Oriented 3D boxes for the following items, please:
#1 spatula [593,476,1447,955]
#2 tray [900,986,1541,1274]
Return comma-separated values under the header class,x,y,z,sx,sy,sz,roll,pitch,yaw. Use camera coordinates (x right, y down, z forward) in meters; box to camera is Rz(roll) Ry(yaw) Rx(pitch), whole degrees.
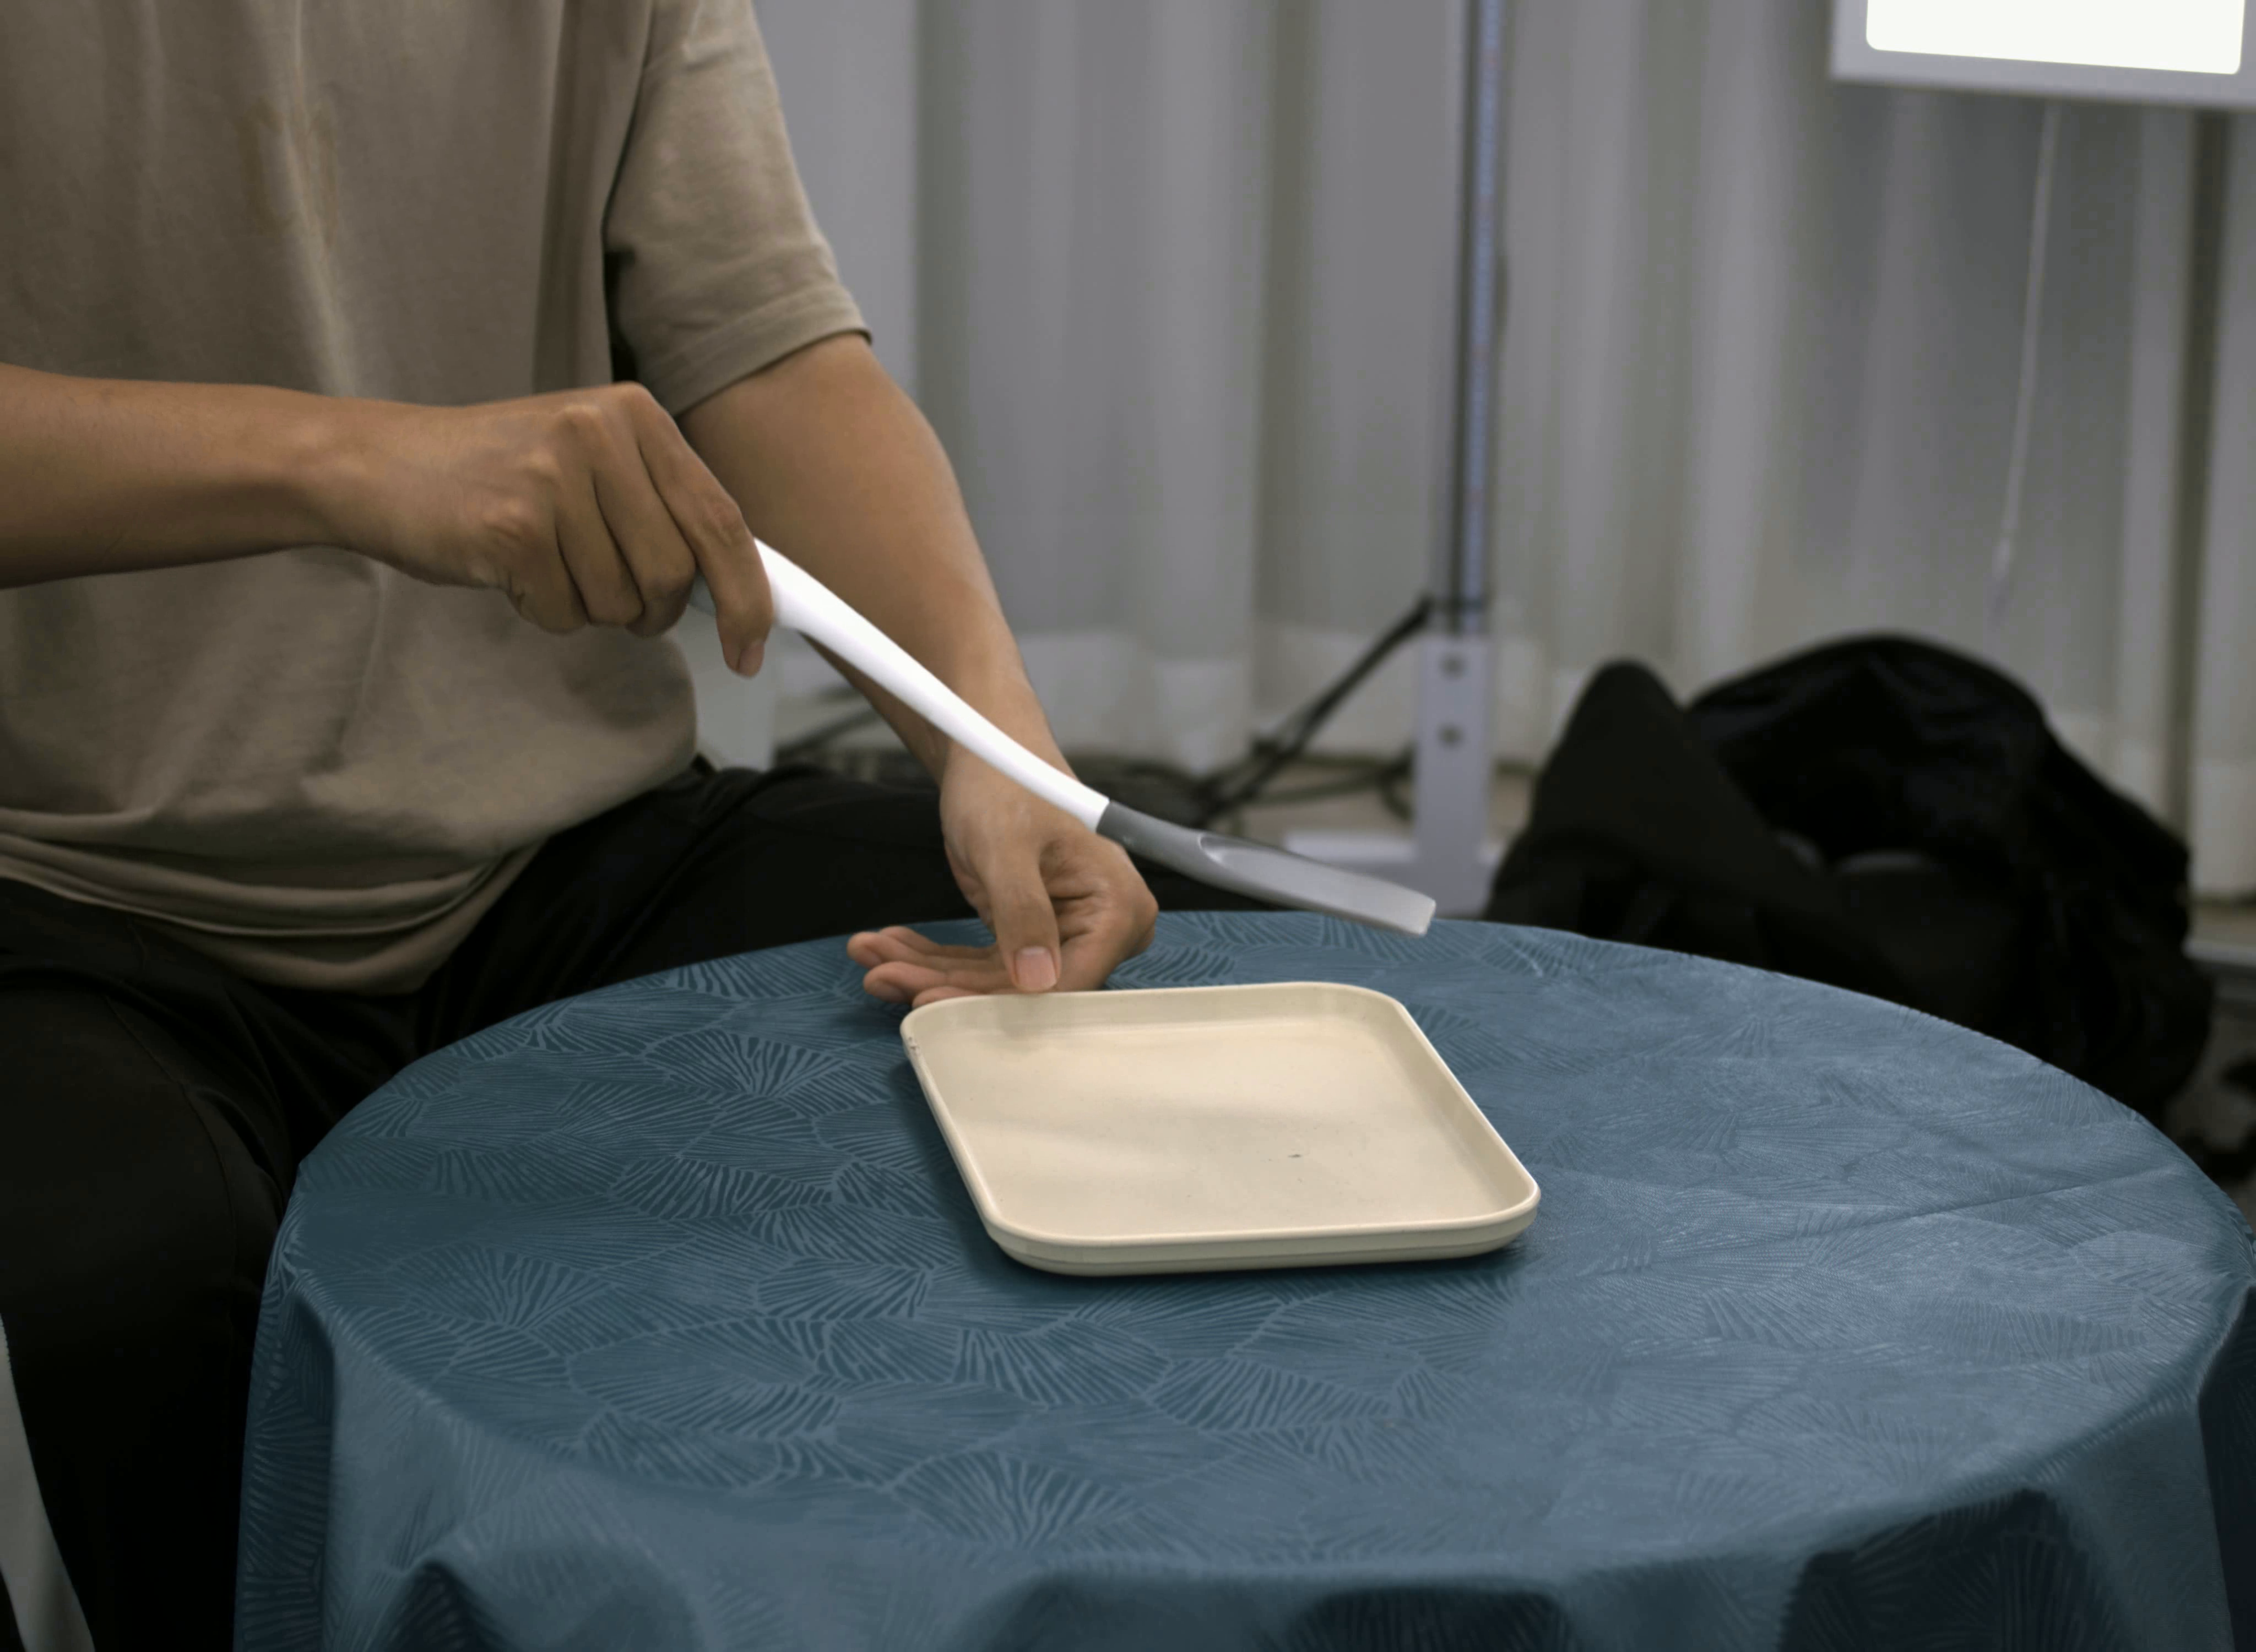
class,x,y,z,sx,sy,sz,roll,pitch,yaw
spatula,-0.033,-0.027,1.626,0.287,0.032,0.058,28,12,0
tray,0.025,0.094,1.658,0.171,0.017,0.237,-1,16,-11
